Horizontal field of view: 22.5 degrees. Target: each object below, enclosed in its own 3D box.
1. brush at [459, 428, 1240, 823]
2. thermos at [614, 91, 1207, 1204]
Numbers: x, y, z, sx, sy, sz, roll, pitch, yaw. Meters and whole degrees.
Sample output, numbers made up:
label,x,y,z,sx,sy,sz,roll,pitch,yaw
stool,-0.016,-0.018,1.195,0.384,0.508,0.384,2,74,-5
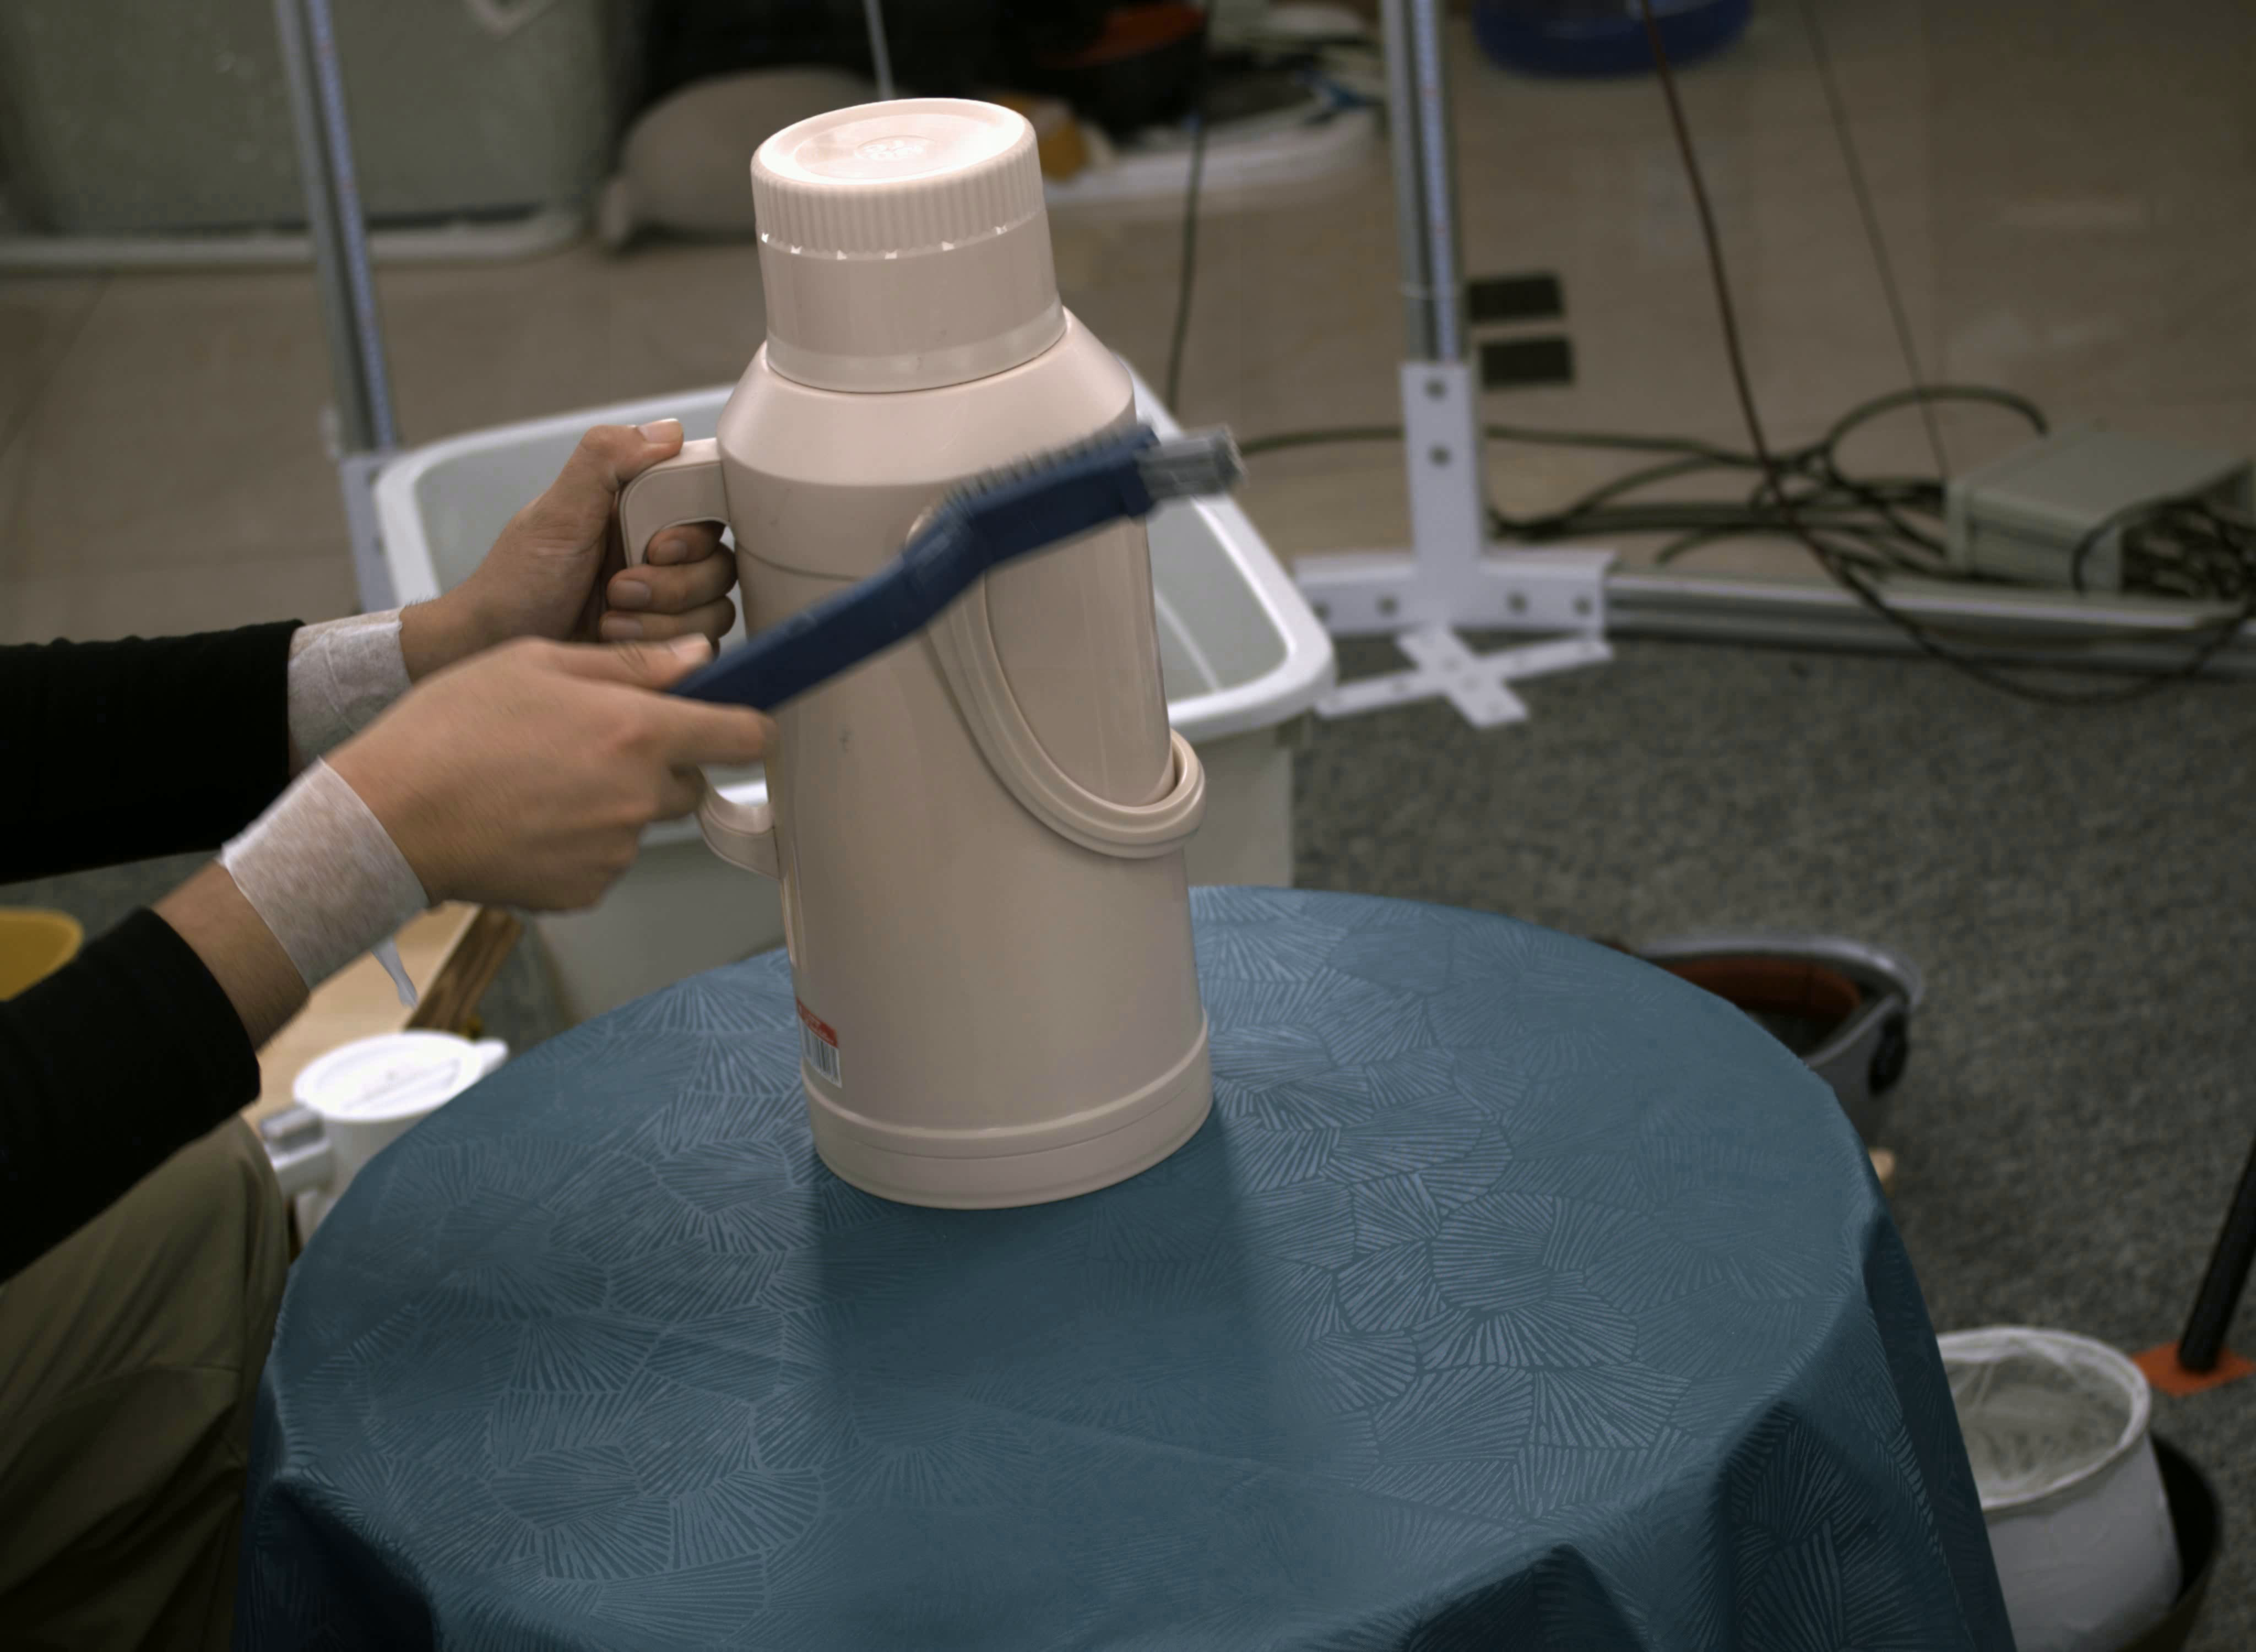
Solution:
label,x,y,z,sx,sy,sz,roll,pitch,yaw
brush,-0.097,-0.071,1.937,0.271,0.034,0.094,-31,30,-16
thermos,-0.081,-0.066,2.131,0.206,0.413,0.172,-8,27,-3
